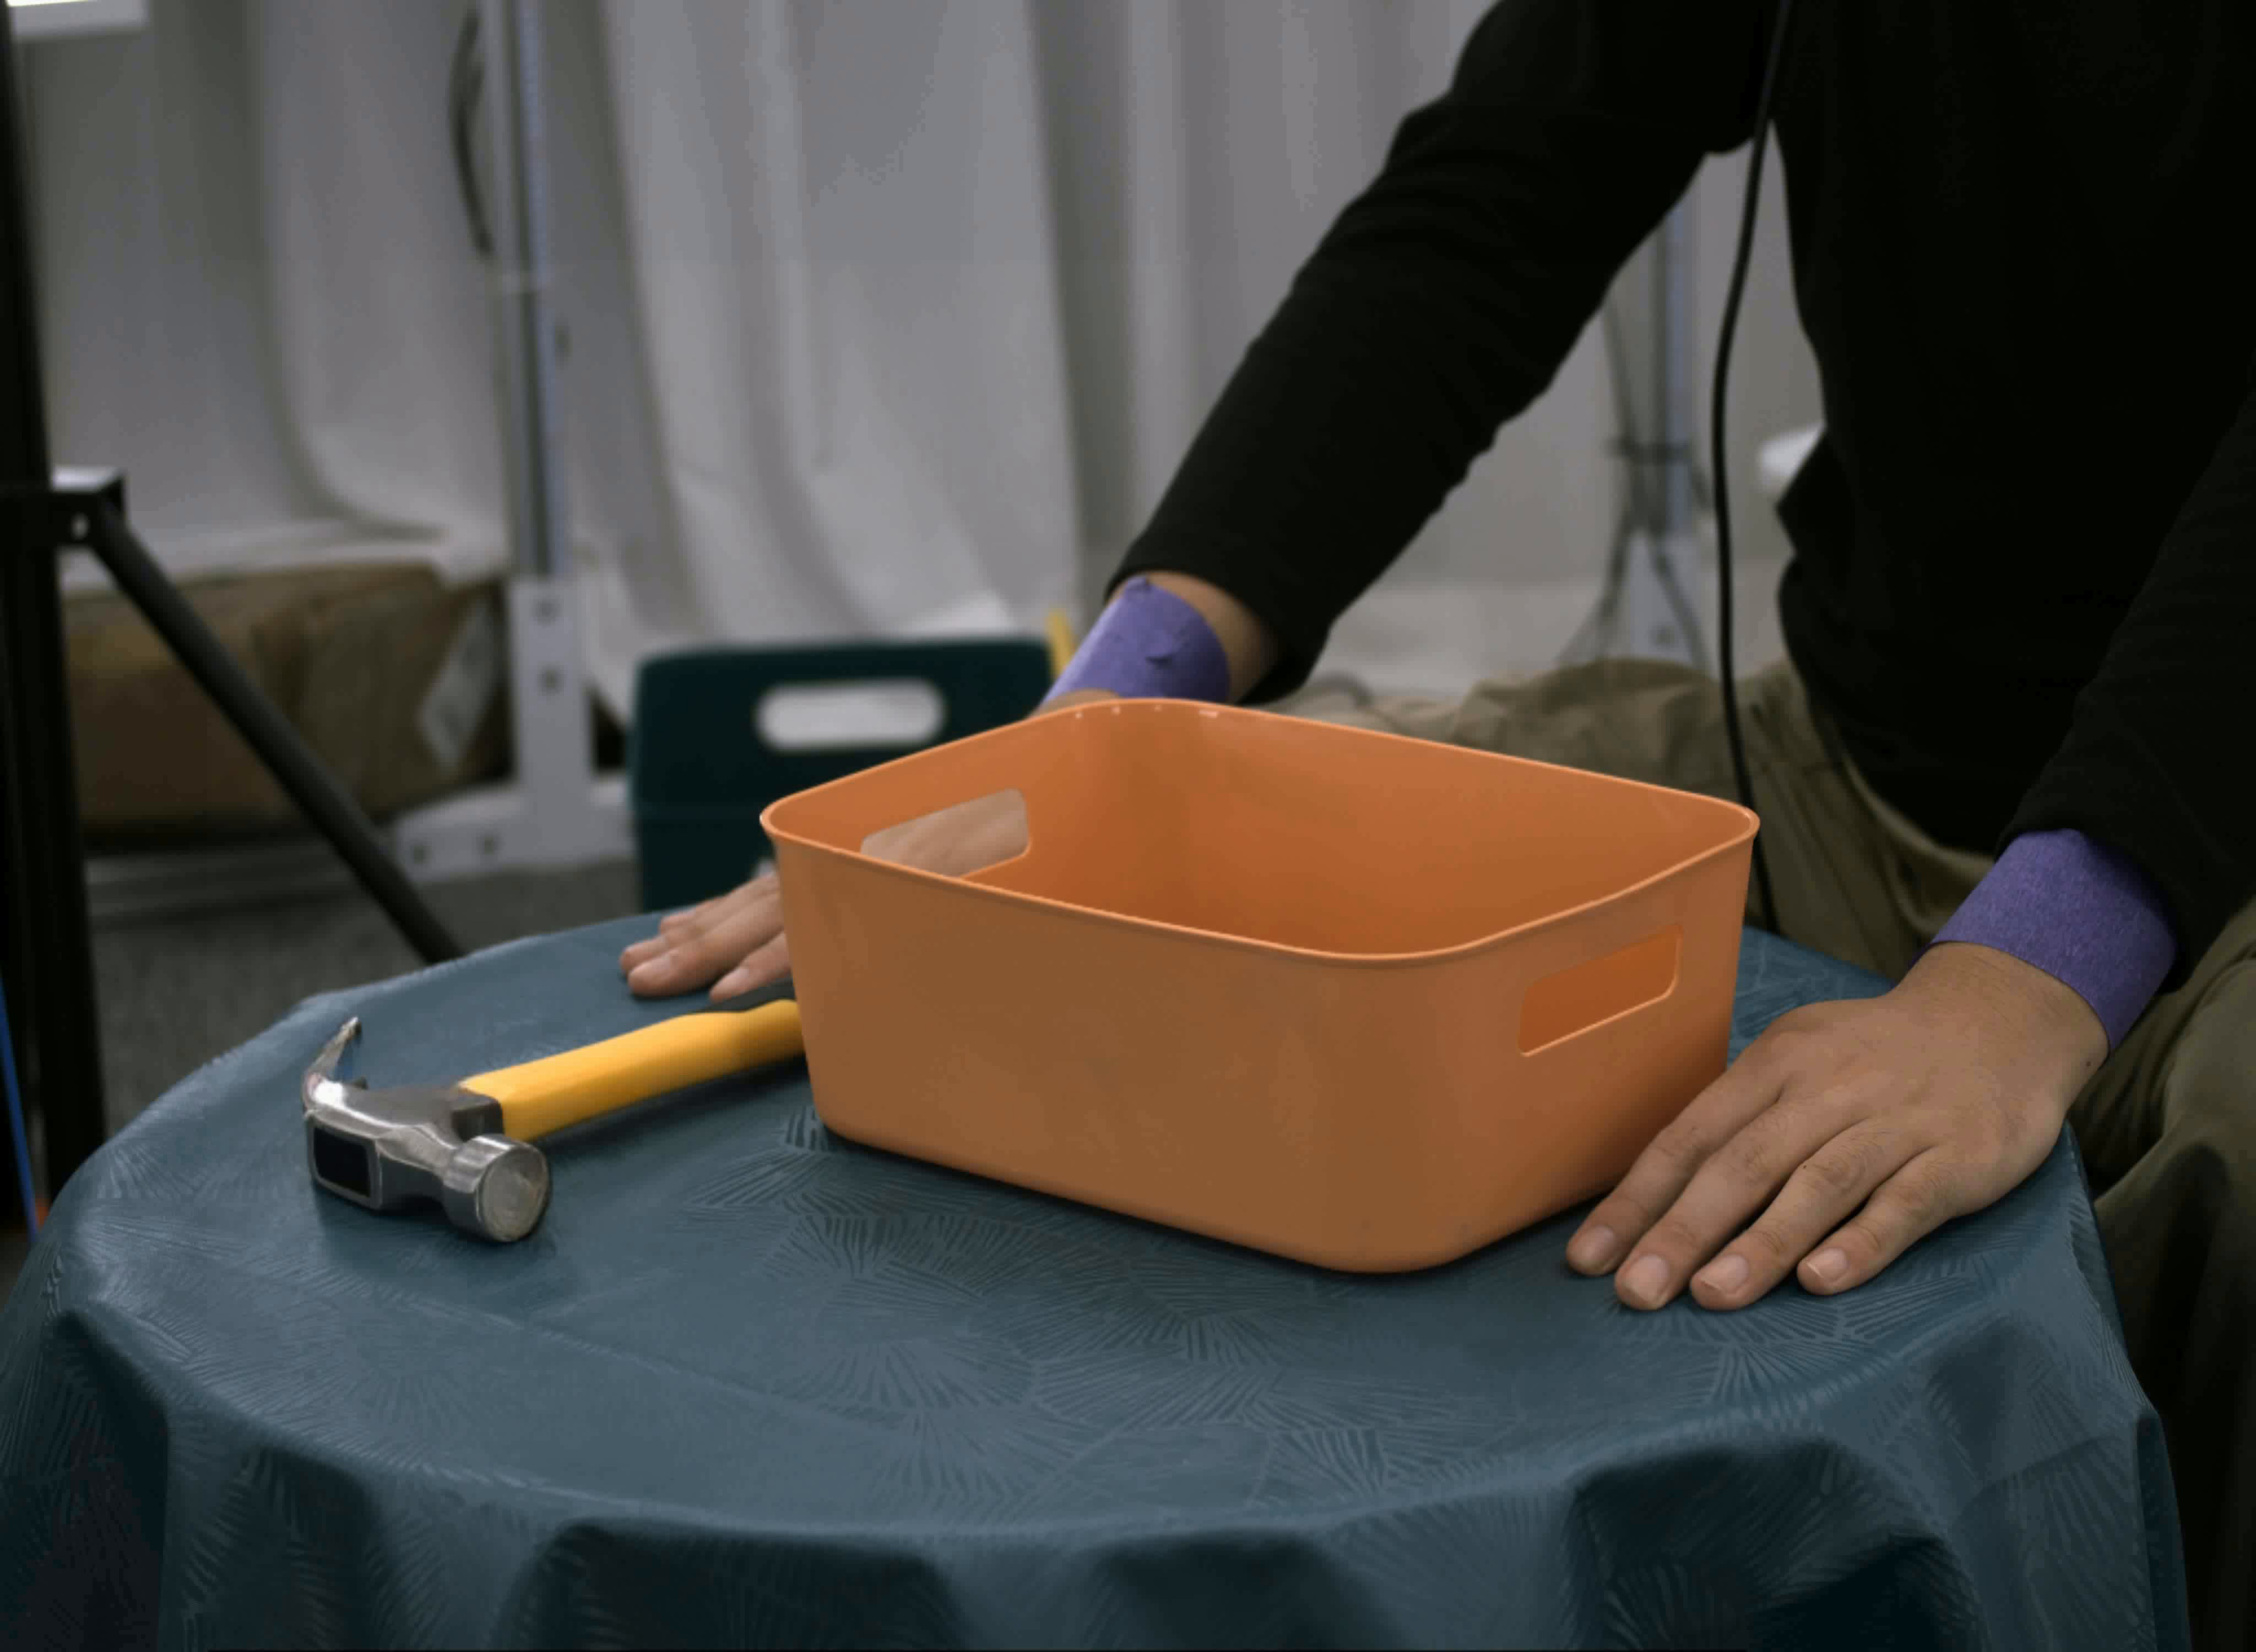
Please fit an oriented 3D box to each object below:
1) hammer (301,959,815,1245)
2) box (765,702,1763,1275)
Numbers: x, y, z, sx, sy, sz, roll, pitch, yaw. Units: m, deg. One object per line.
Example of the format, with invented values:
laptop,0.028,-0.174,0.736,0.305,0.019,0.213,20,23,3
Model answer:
hammer,-0.112,0.060,1.679,0.331,0.032,0.134,-18,22,-40
box,0.040,0.045,1.585,0.279,0.102,0.195,12,20,41
